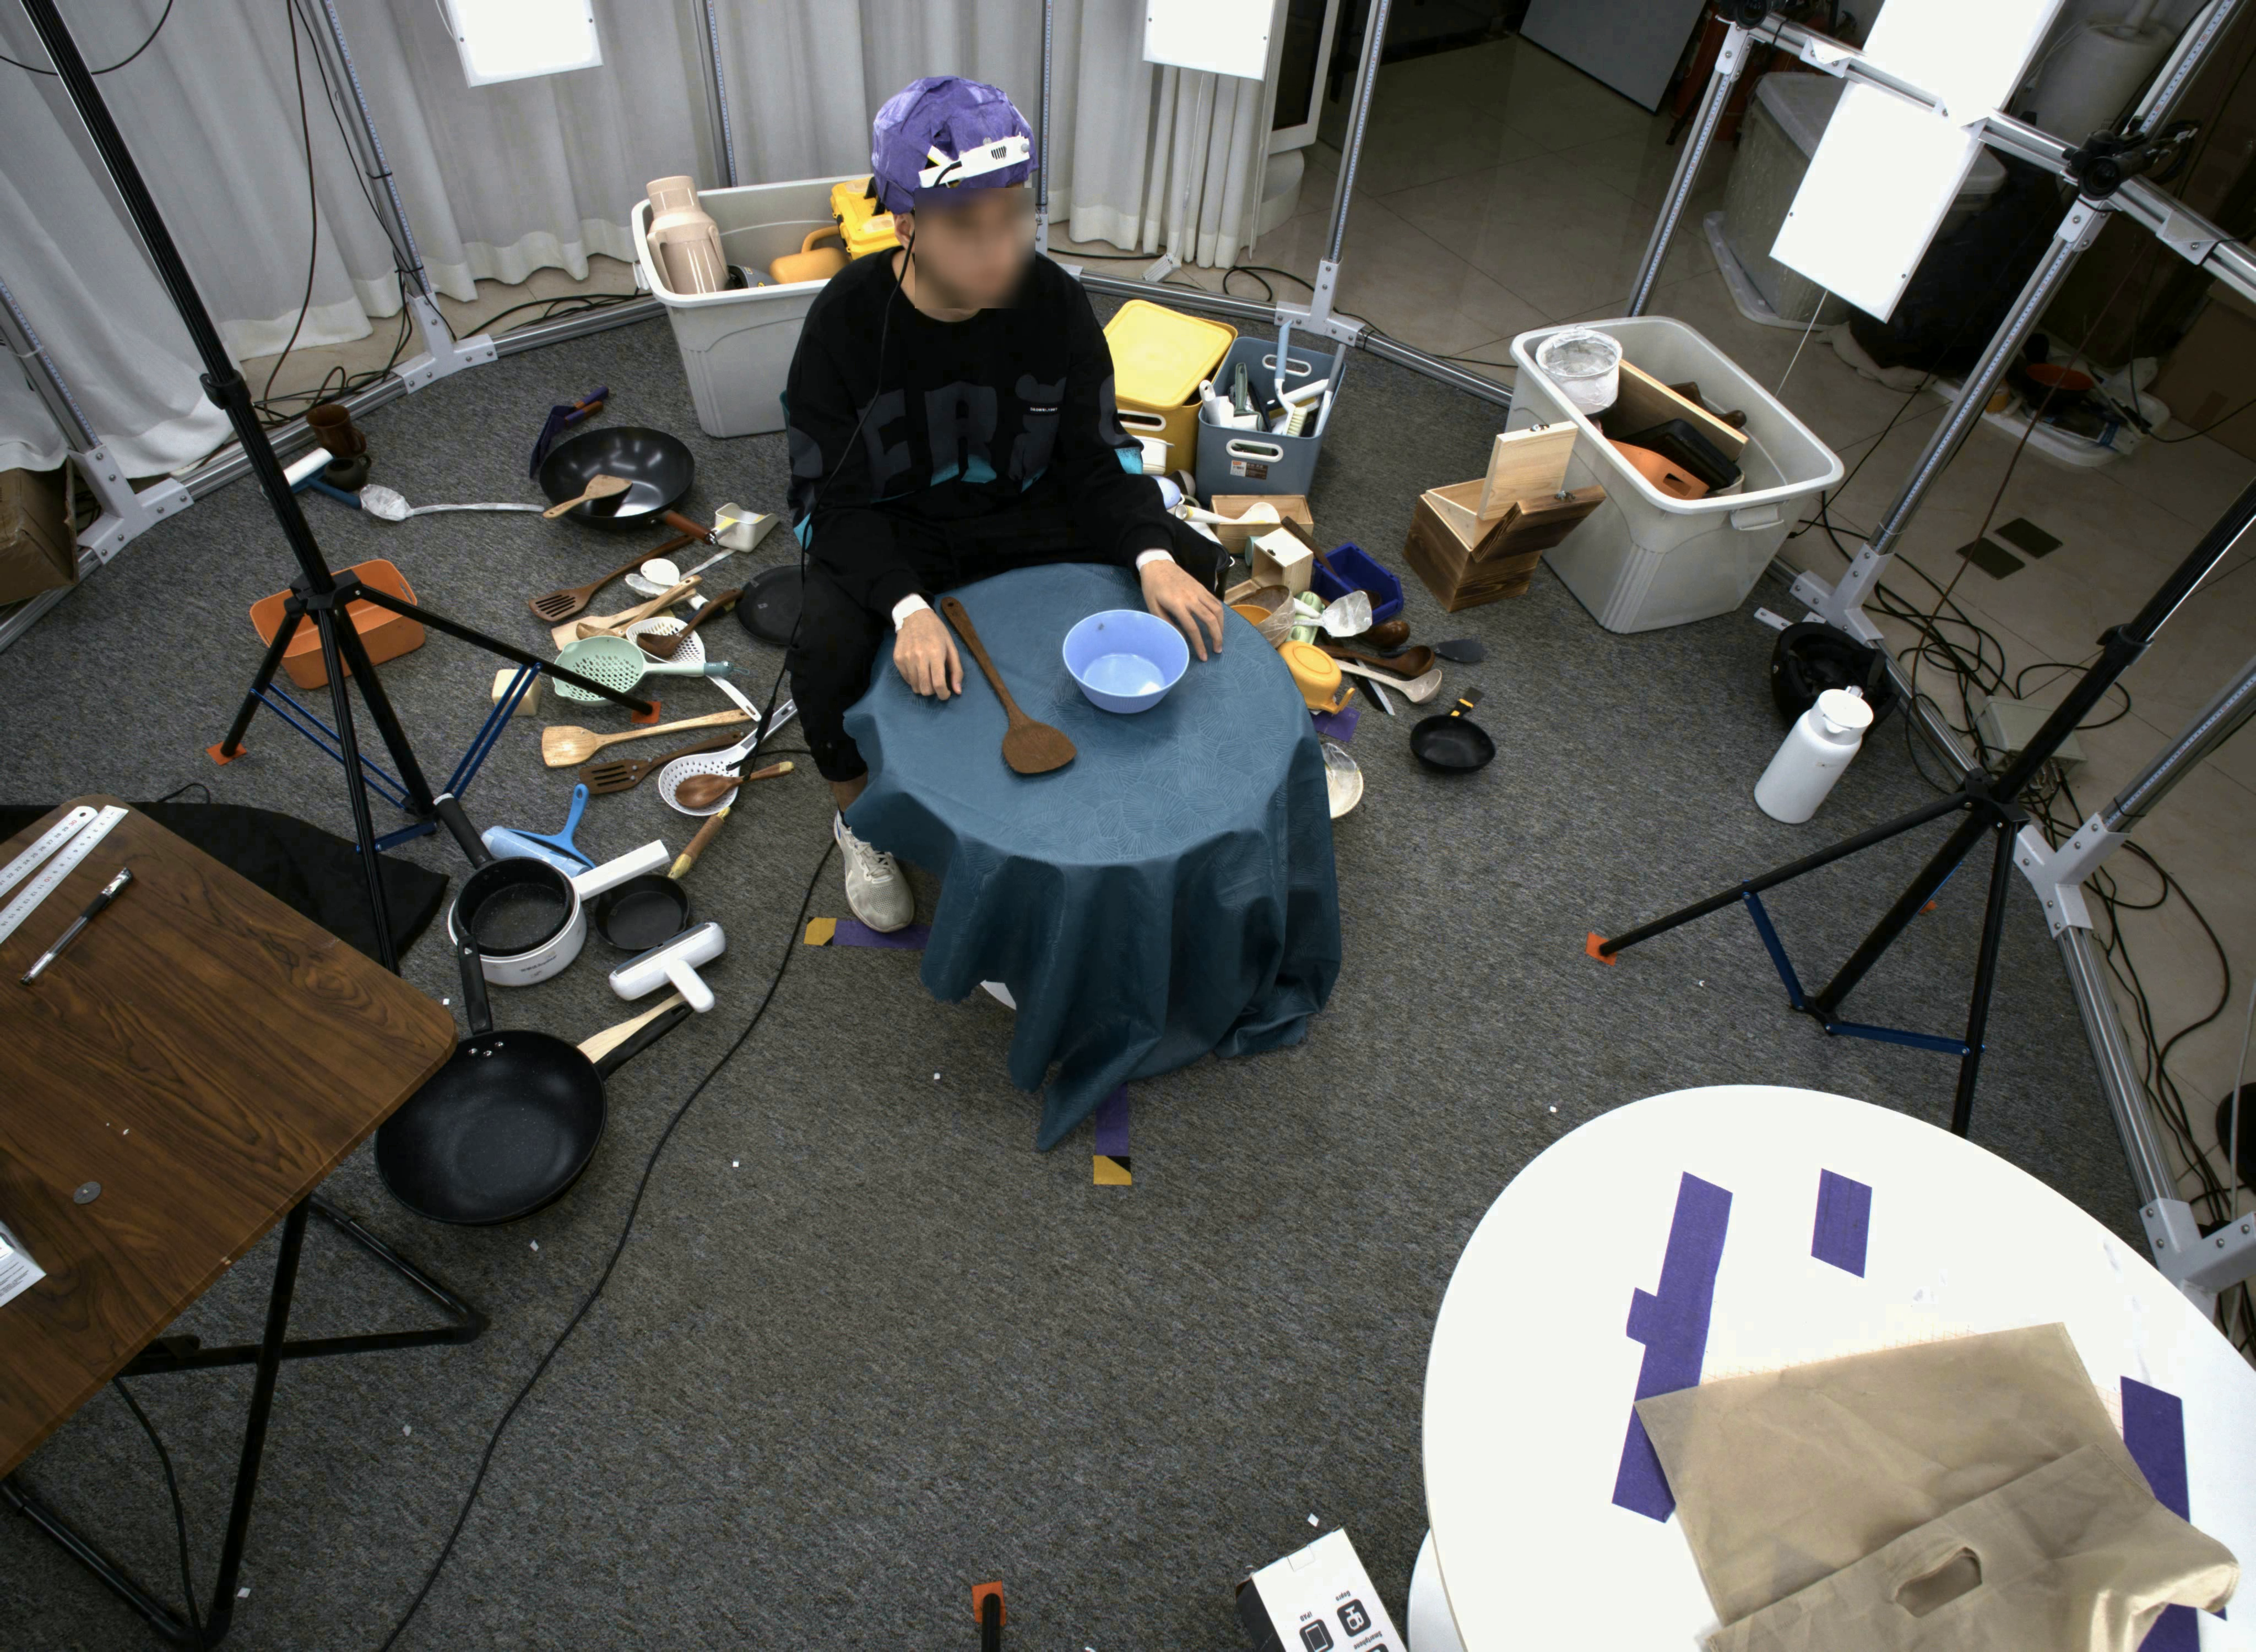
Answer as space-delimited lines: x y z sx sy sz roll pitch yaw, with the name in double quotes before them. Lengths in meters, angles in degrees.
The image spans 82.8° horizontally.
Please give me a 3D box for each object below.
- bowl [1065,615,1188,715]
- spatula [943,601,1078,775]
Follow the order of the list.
"bowl" -0.003 -0.221 1.832 0.176 0.068 0.180 2 47 -2
"spatula" -0.188 -0.208 1.844 0.096 0.015 0.394 -18 52 -19
